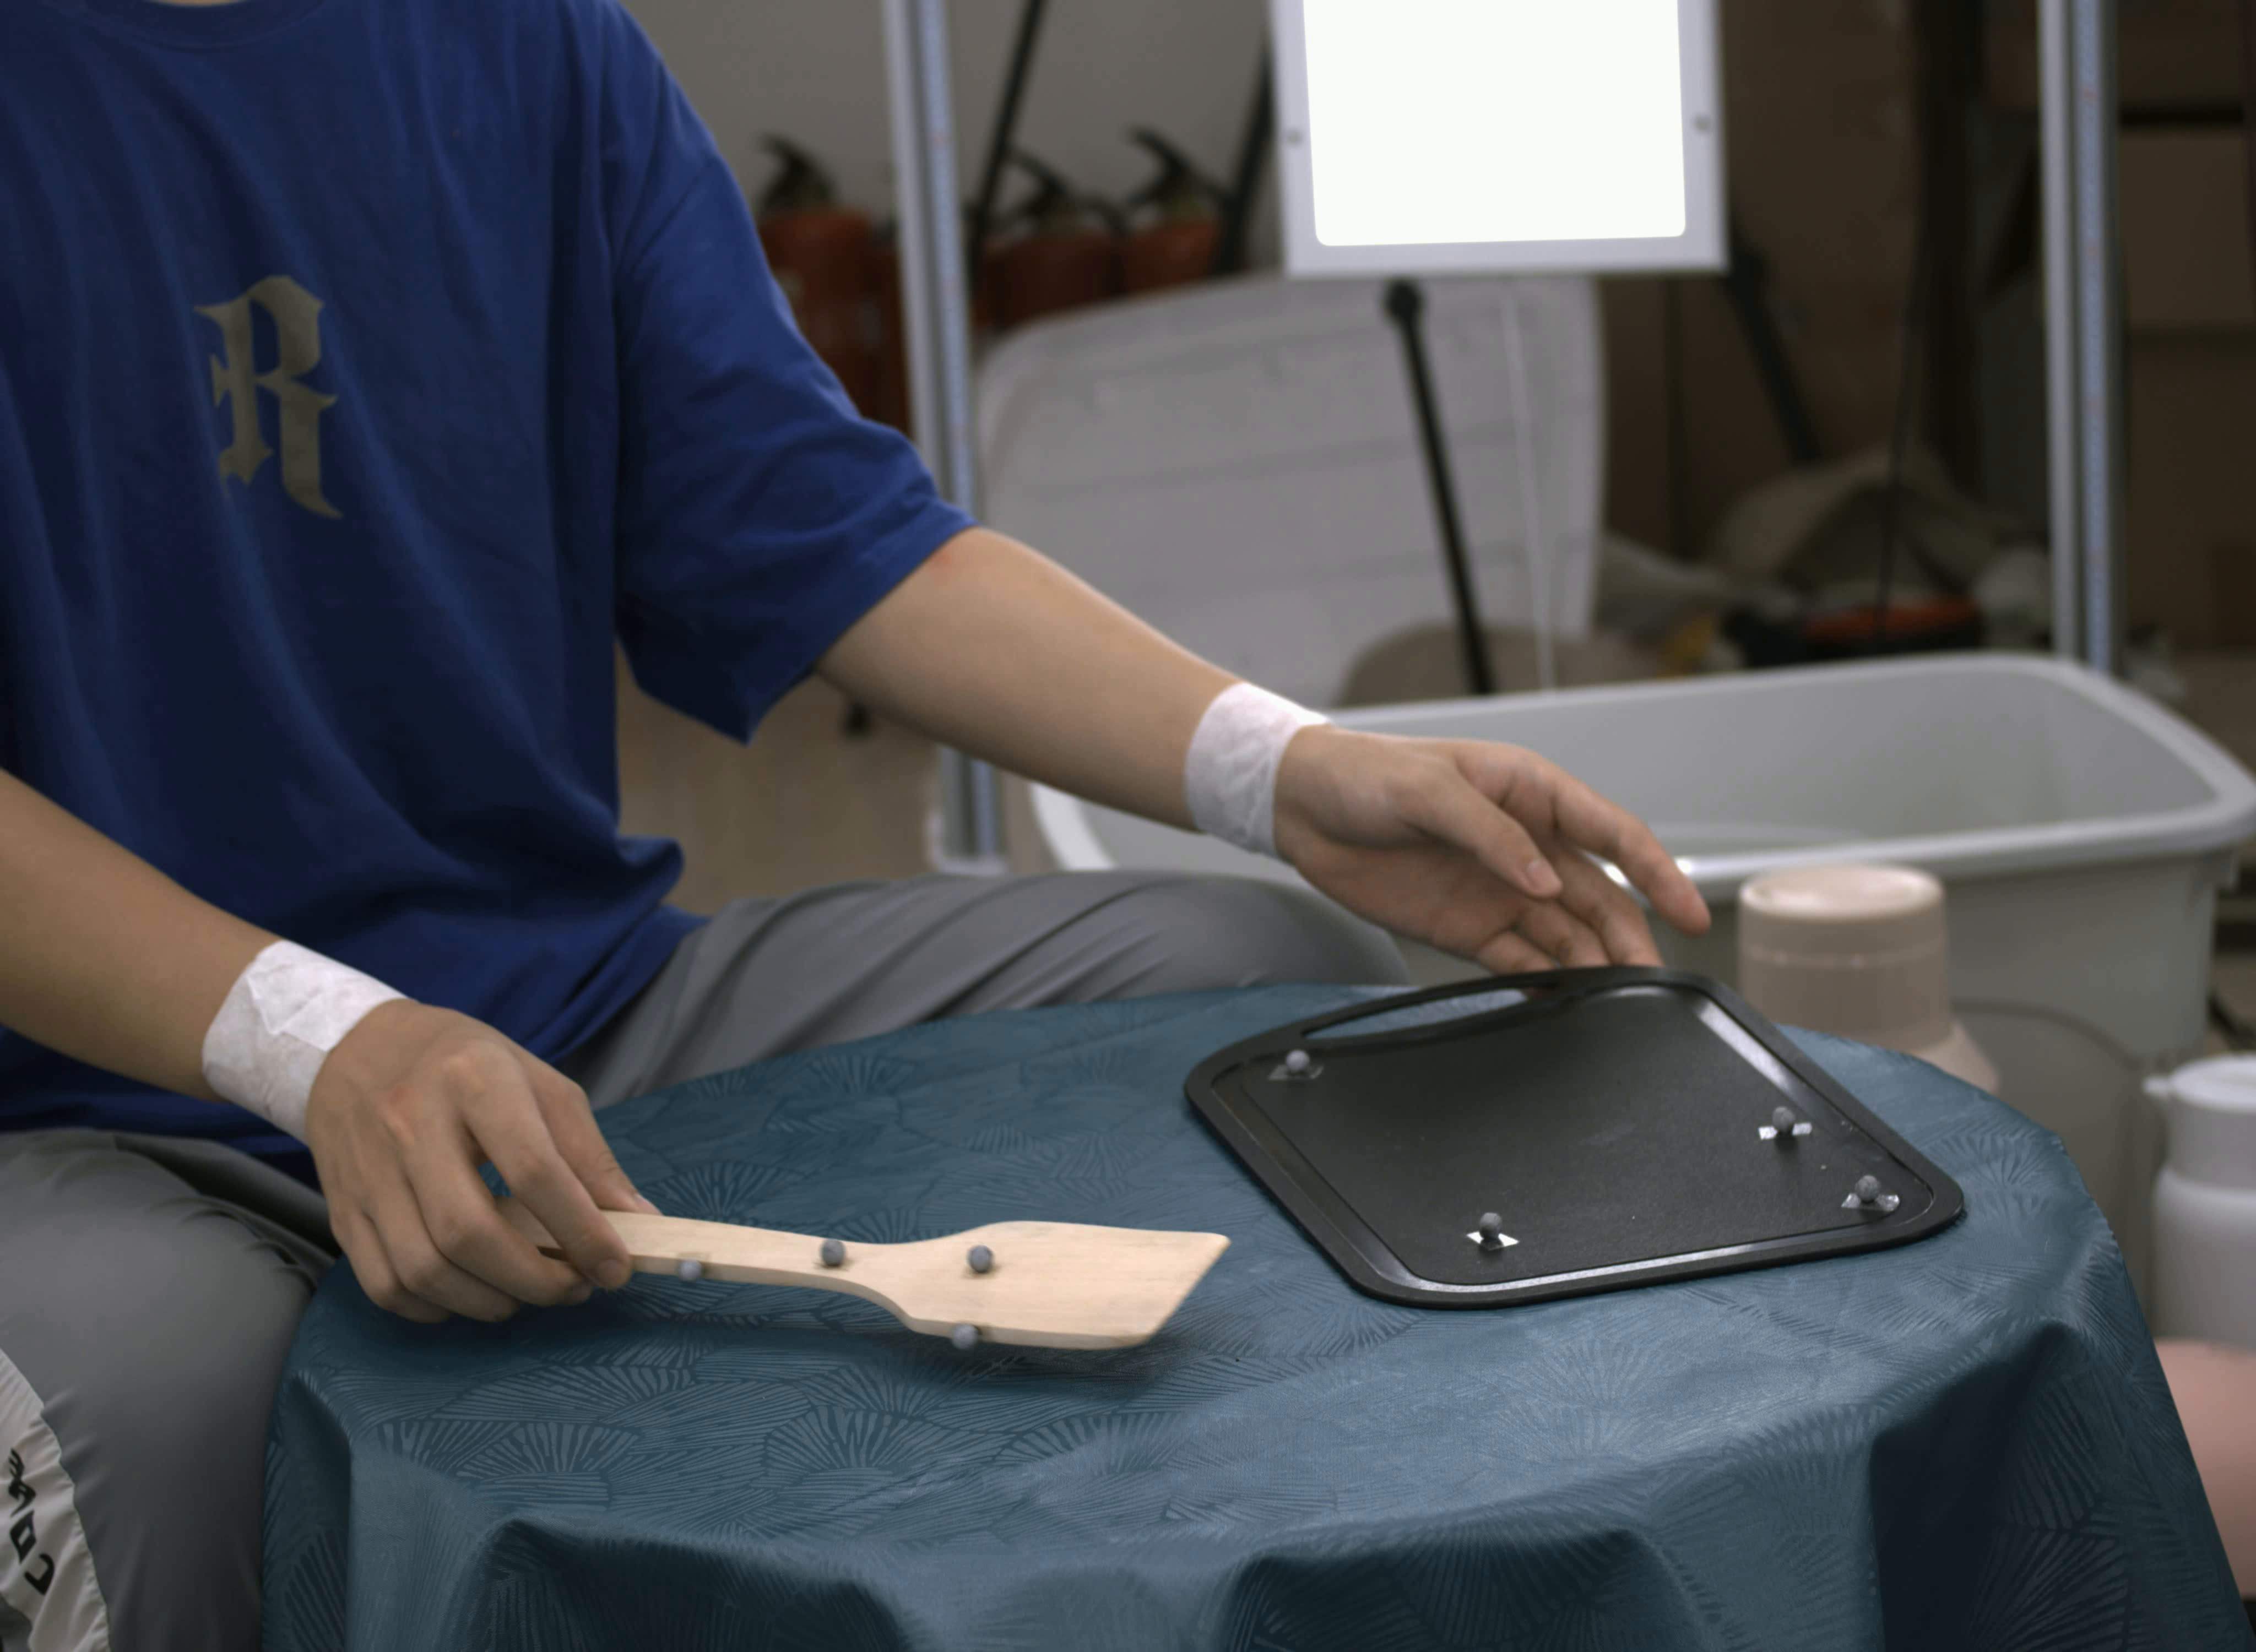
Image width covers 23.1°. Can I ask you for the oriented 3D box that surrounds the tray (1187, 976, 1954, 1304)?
[{"bbox_3d":[0.144,0.102,1.907,0.209,0.010,0.327,-9,16,-10],"label":"tray"}]

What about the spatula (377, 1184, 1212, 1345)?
[{"bbox_3d":[-0.117,0.138,1.785,0.298,0.011,0.071,4,25,27],"label":"spatula"}]
